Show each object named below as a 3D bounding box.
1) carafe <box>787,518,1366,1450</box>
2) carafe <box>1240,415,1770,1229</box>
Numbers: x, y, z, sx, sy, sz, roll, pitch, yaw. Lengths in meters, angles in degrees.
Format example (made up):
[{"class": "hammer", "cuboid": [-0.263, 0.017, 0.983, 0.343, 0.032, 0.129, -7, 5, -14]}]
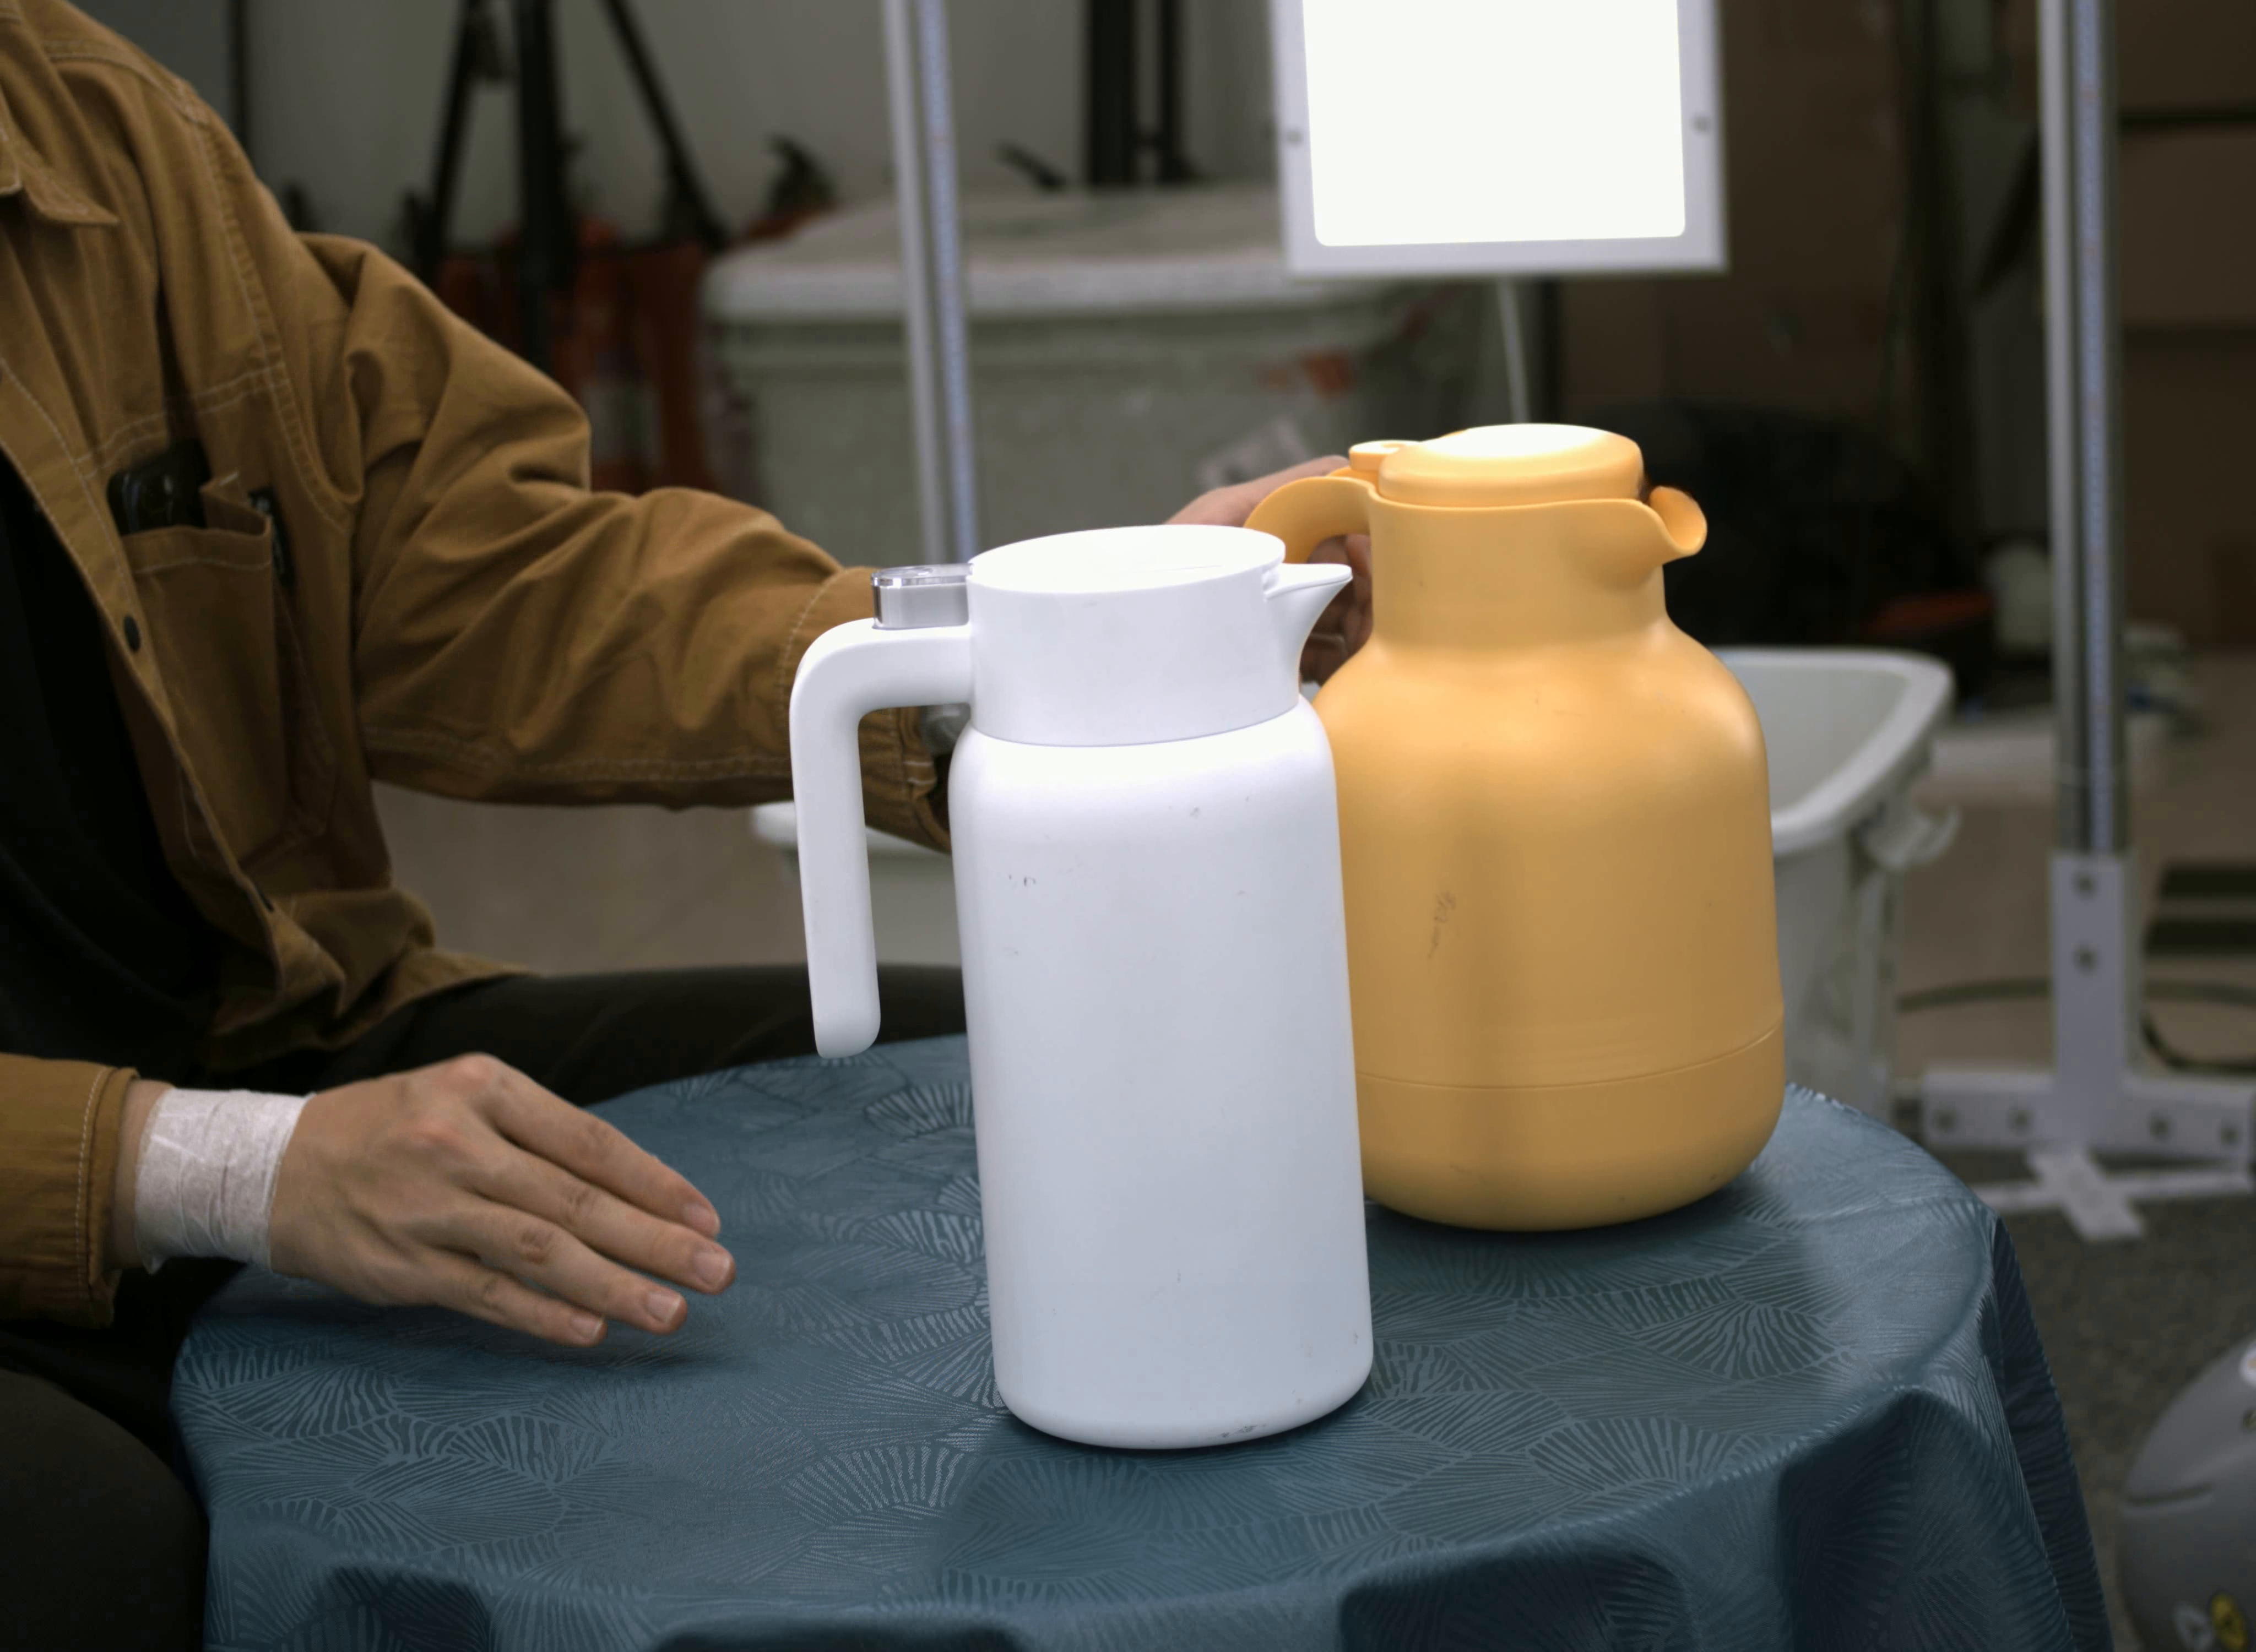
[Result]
[{"class": "carafe", "cuboid": [-0.010, 0.048, 1.662, 0.172, 0.270, 0.123, -4, 16, 2]}, {"class": "carafe", "cuboid": [0.120, -0.008, 1.849, 0.159, 0.261, 0.207, -13, 18, -42]}]
